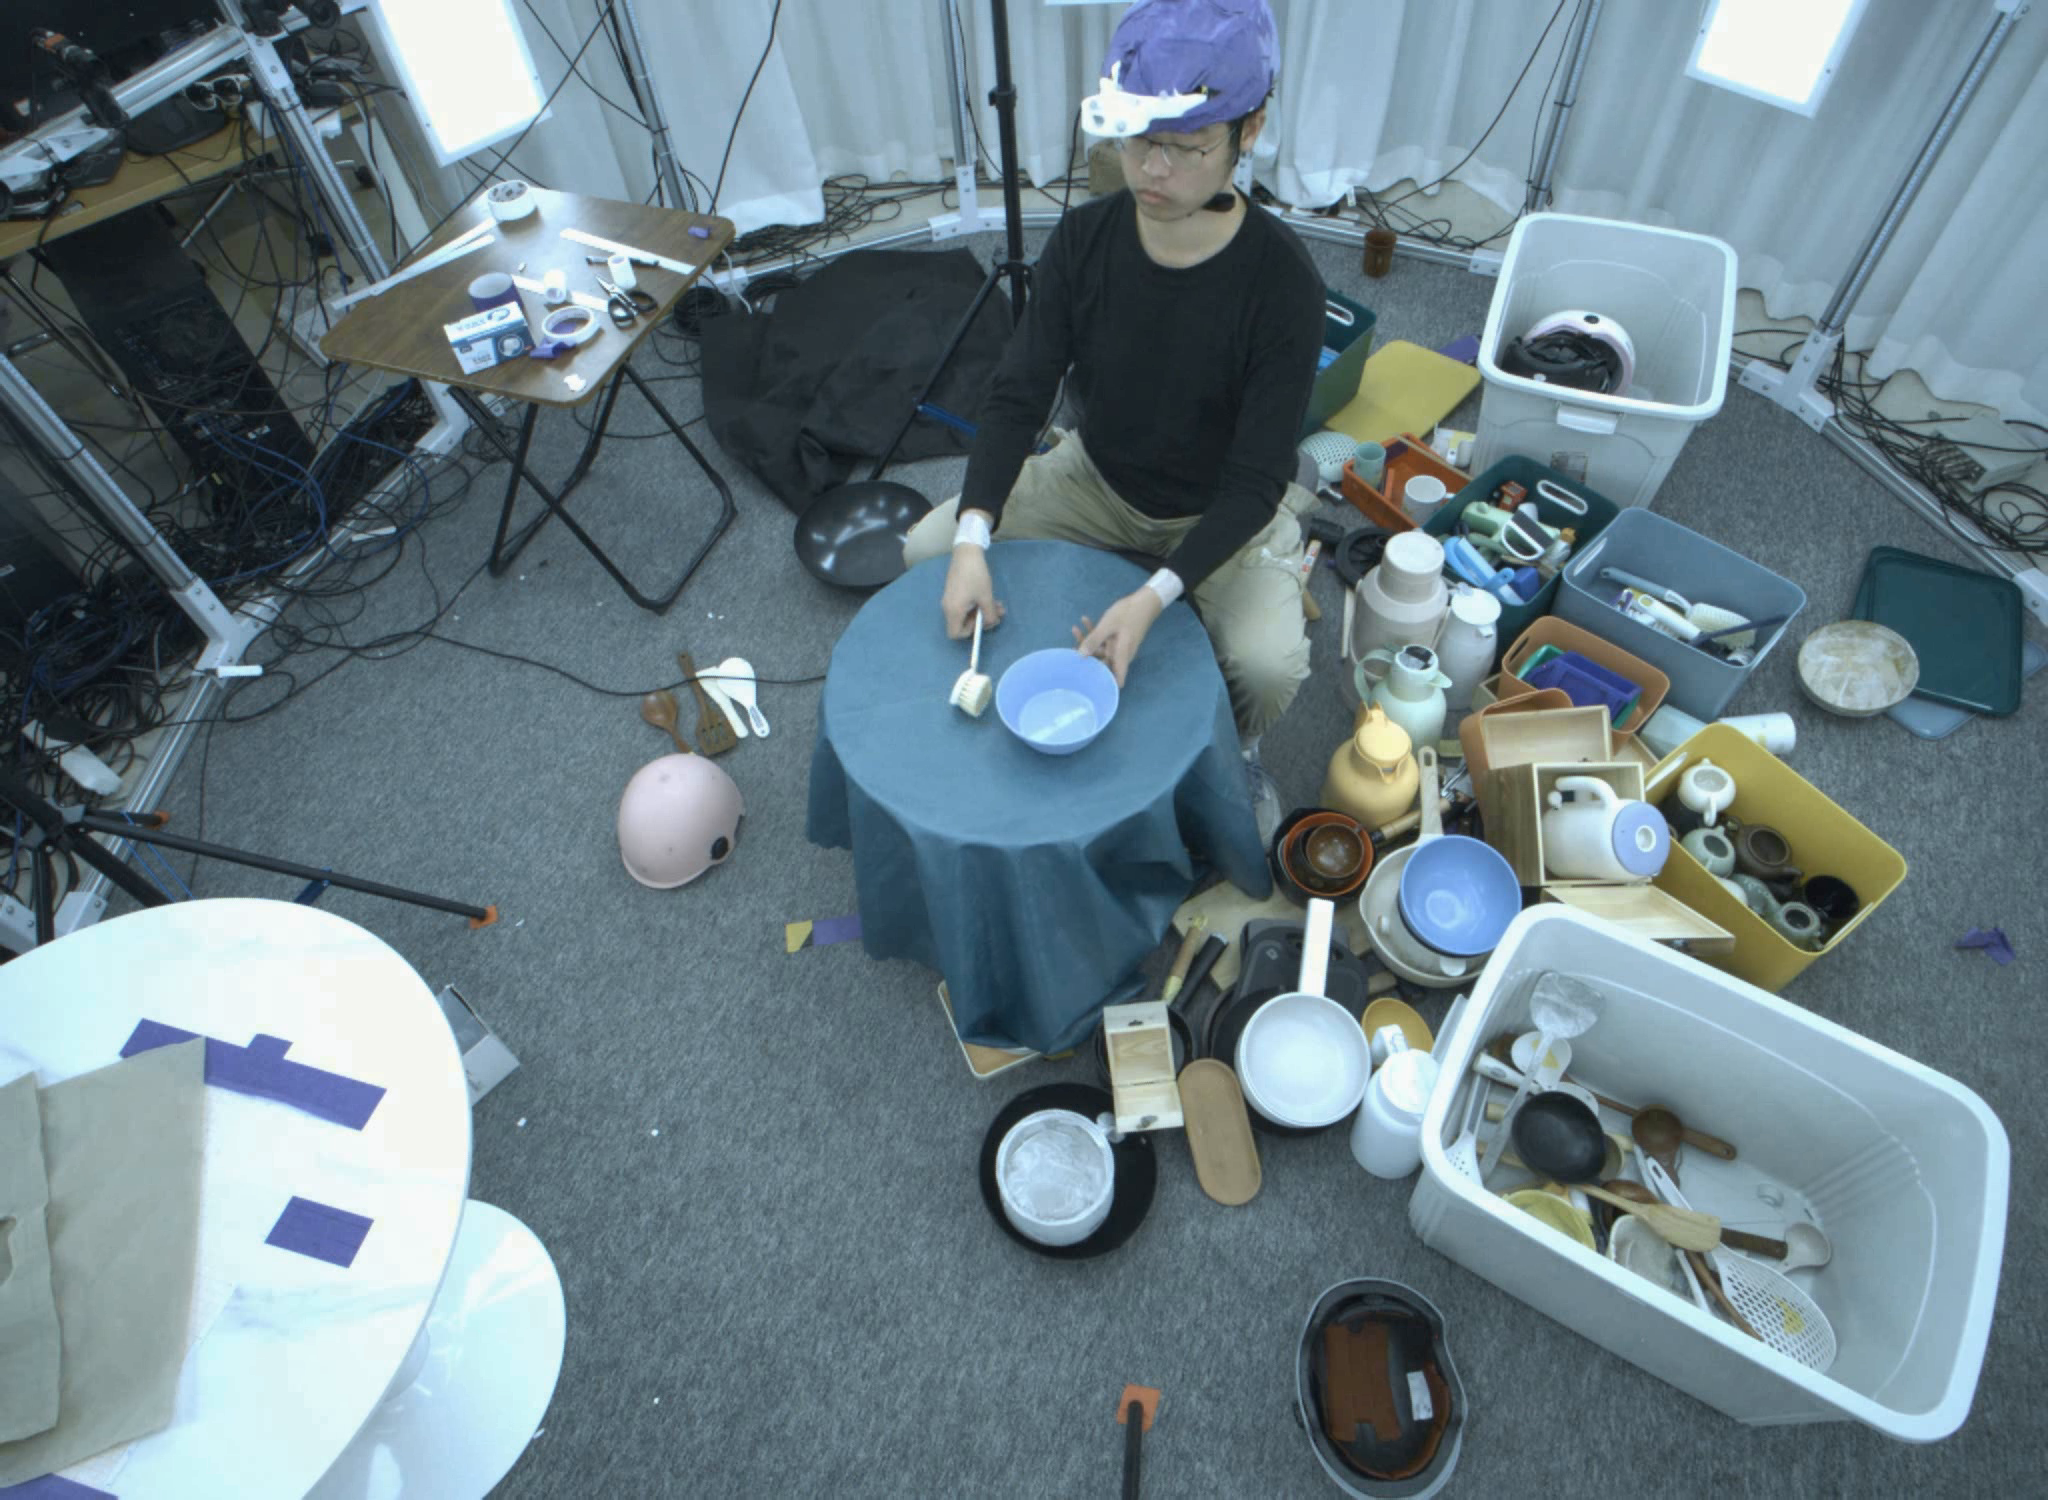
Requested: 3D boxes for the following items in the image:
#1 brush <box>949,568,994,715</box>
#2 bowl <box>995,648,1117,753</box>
[{"bbox_3d":[-0.063,-0.170,1.862,0.056,0.069,0.265,12,58,-3],"label":"brush"},{"bbox_3d":[0.047,-0.062,1.785,0.176,0.071,0.174,0,54,1],"label":"bowl"}]
